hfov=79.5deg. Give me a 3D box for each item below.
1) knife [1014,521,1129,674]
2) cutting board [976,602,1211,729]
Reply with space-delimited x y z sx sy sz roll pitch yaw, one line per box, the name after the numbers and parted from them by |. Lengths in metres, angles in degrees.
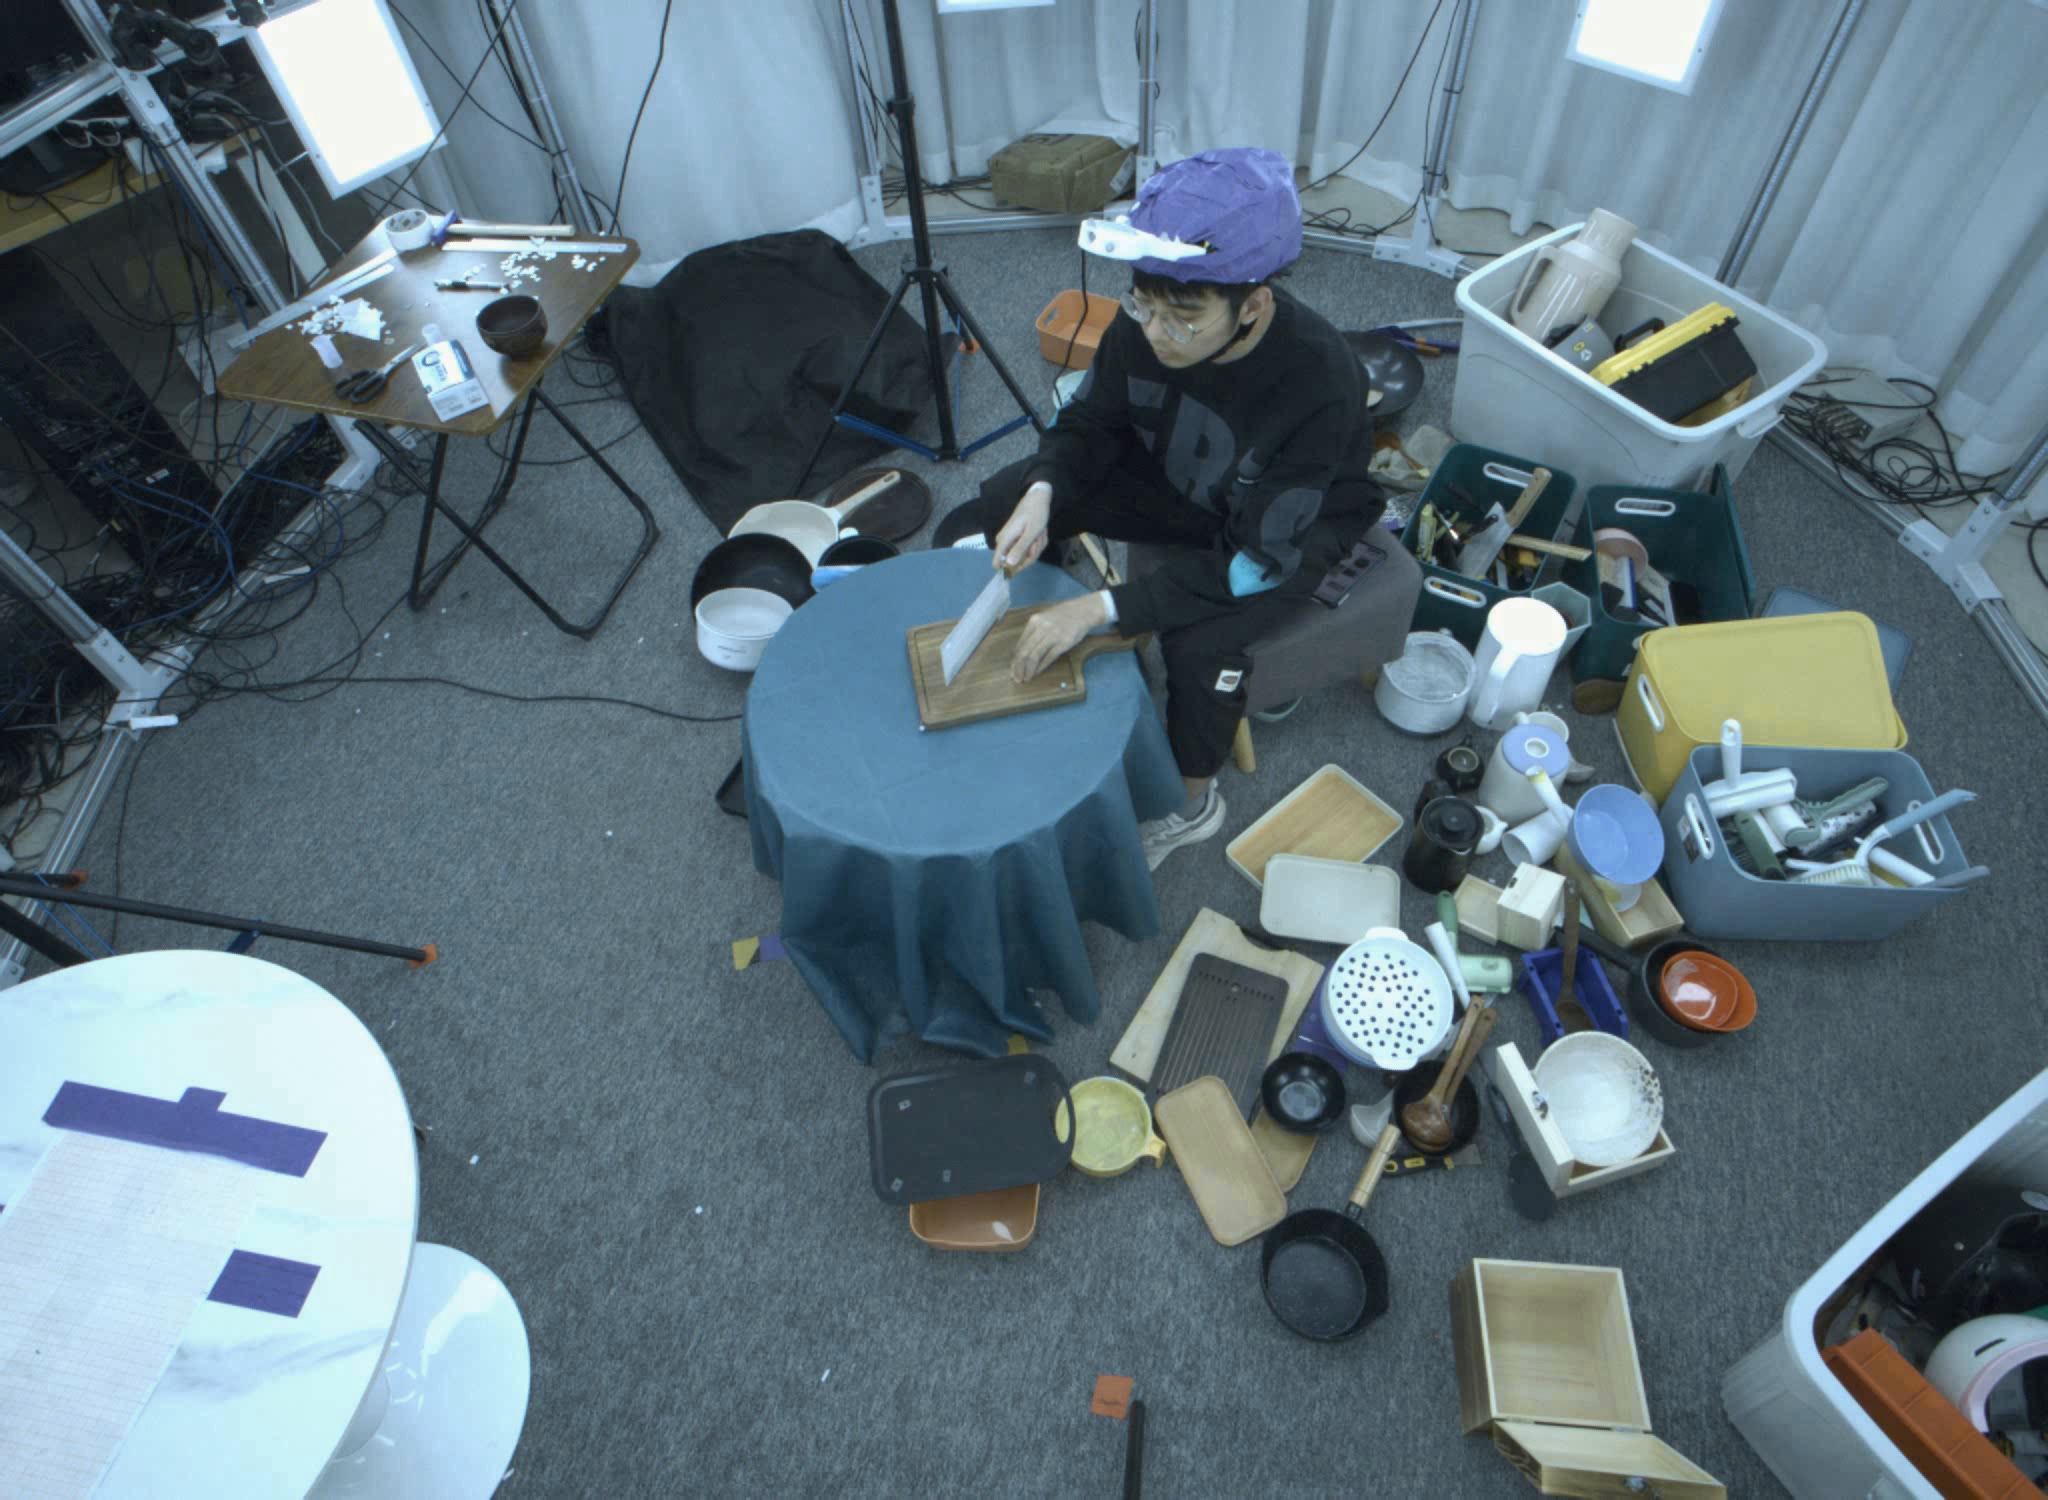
0.071 -0.226 1.838 0.020 0.094 0.307 27 59 21 | knife
0.111 -0.138 1.867 0.353 0.023 0.198 -8 55 -3 | cutting board
